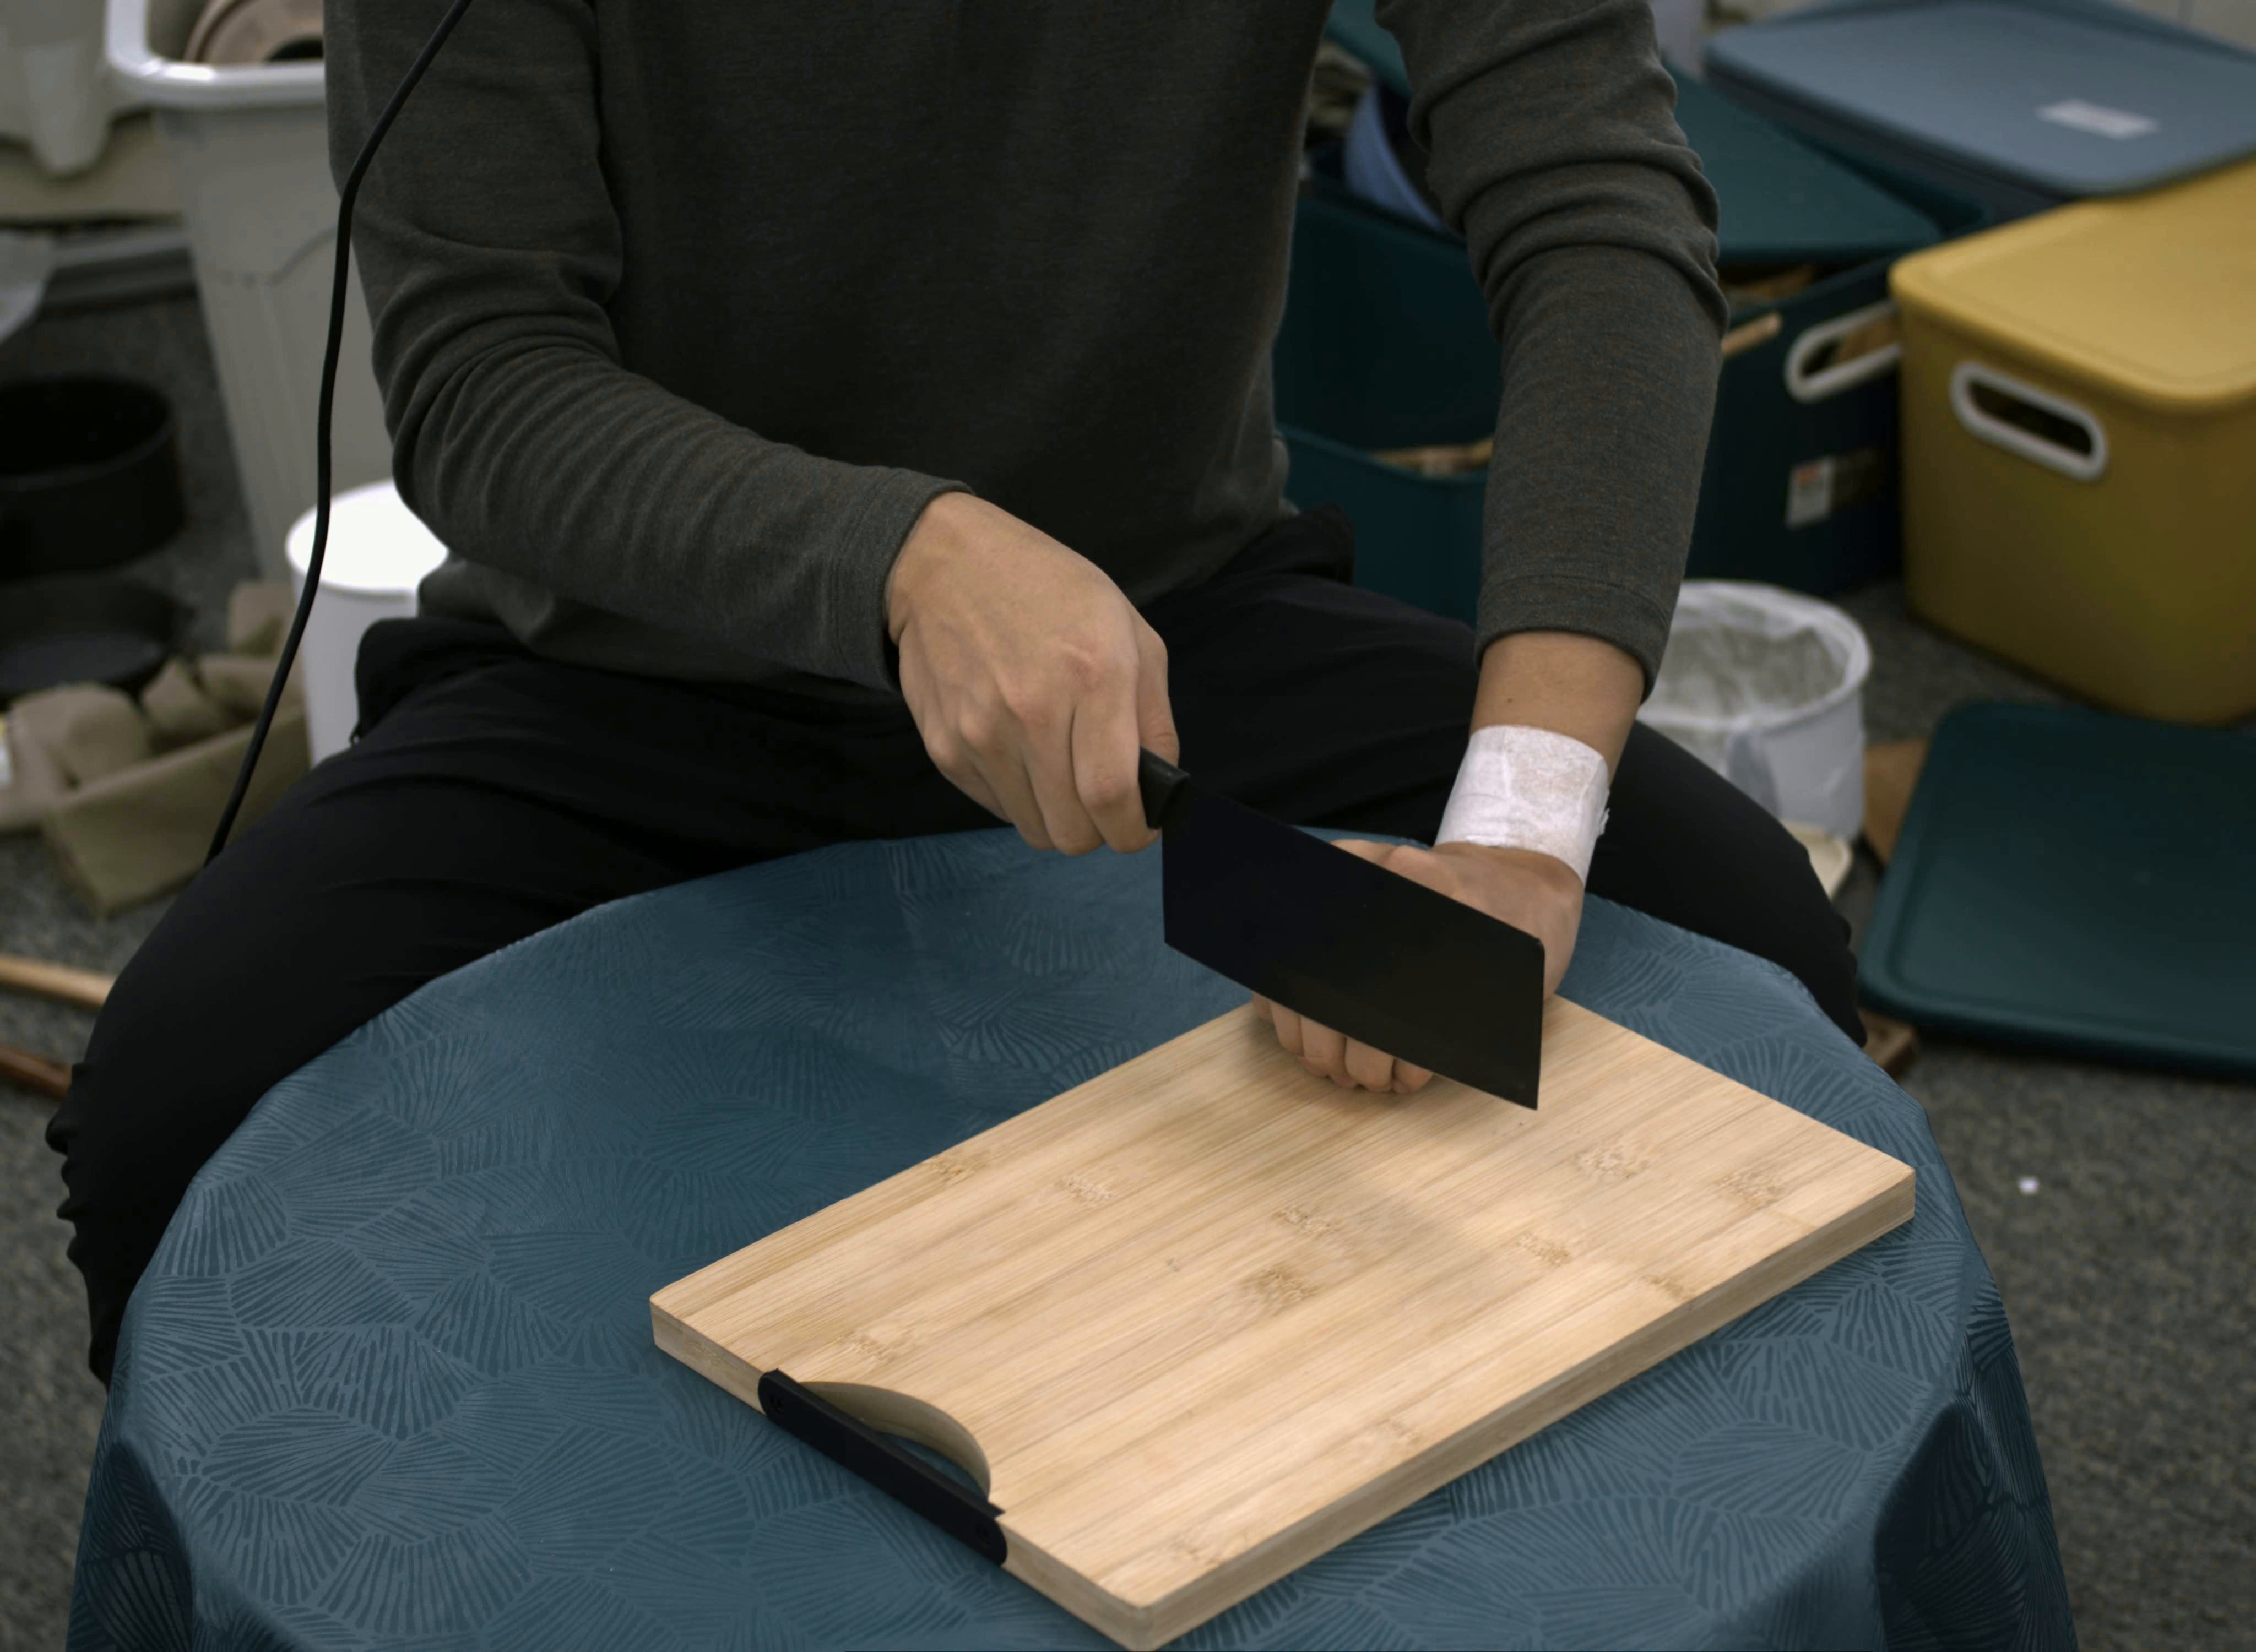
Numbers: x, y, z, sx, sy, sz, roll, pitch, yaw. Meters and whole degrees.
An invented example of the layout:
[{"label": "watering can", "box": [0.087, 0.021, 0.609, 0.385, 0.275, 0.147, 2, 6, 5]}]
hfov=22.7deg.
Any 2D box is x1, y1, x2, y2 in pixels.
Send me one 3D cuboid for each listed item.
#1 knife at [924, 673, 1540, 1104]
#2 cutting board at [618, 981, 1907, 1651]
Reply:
[{"label": "knife", "box": [0.032, 0.015, 1.872, 0.021, 0.080, 0.302, -17, 33, -38]}, {"label": "cutting board", "box": [0.047, 0.141, 1.803, 0.352, 0.023, 0.250, -25, 34, -36]}]
